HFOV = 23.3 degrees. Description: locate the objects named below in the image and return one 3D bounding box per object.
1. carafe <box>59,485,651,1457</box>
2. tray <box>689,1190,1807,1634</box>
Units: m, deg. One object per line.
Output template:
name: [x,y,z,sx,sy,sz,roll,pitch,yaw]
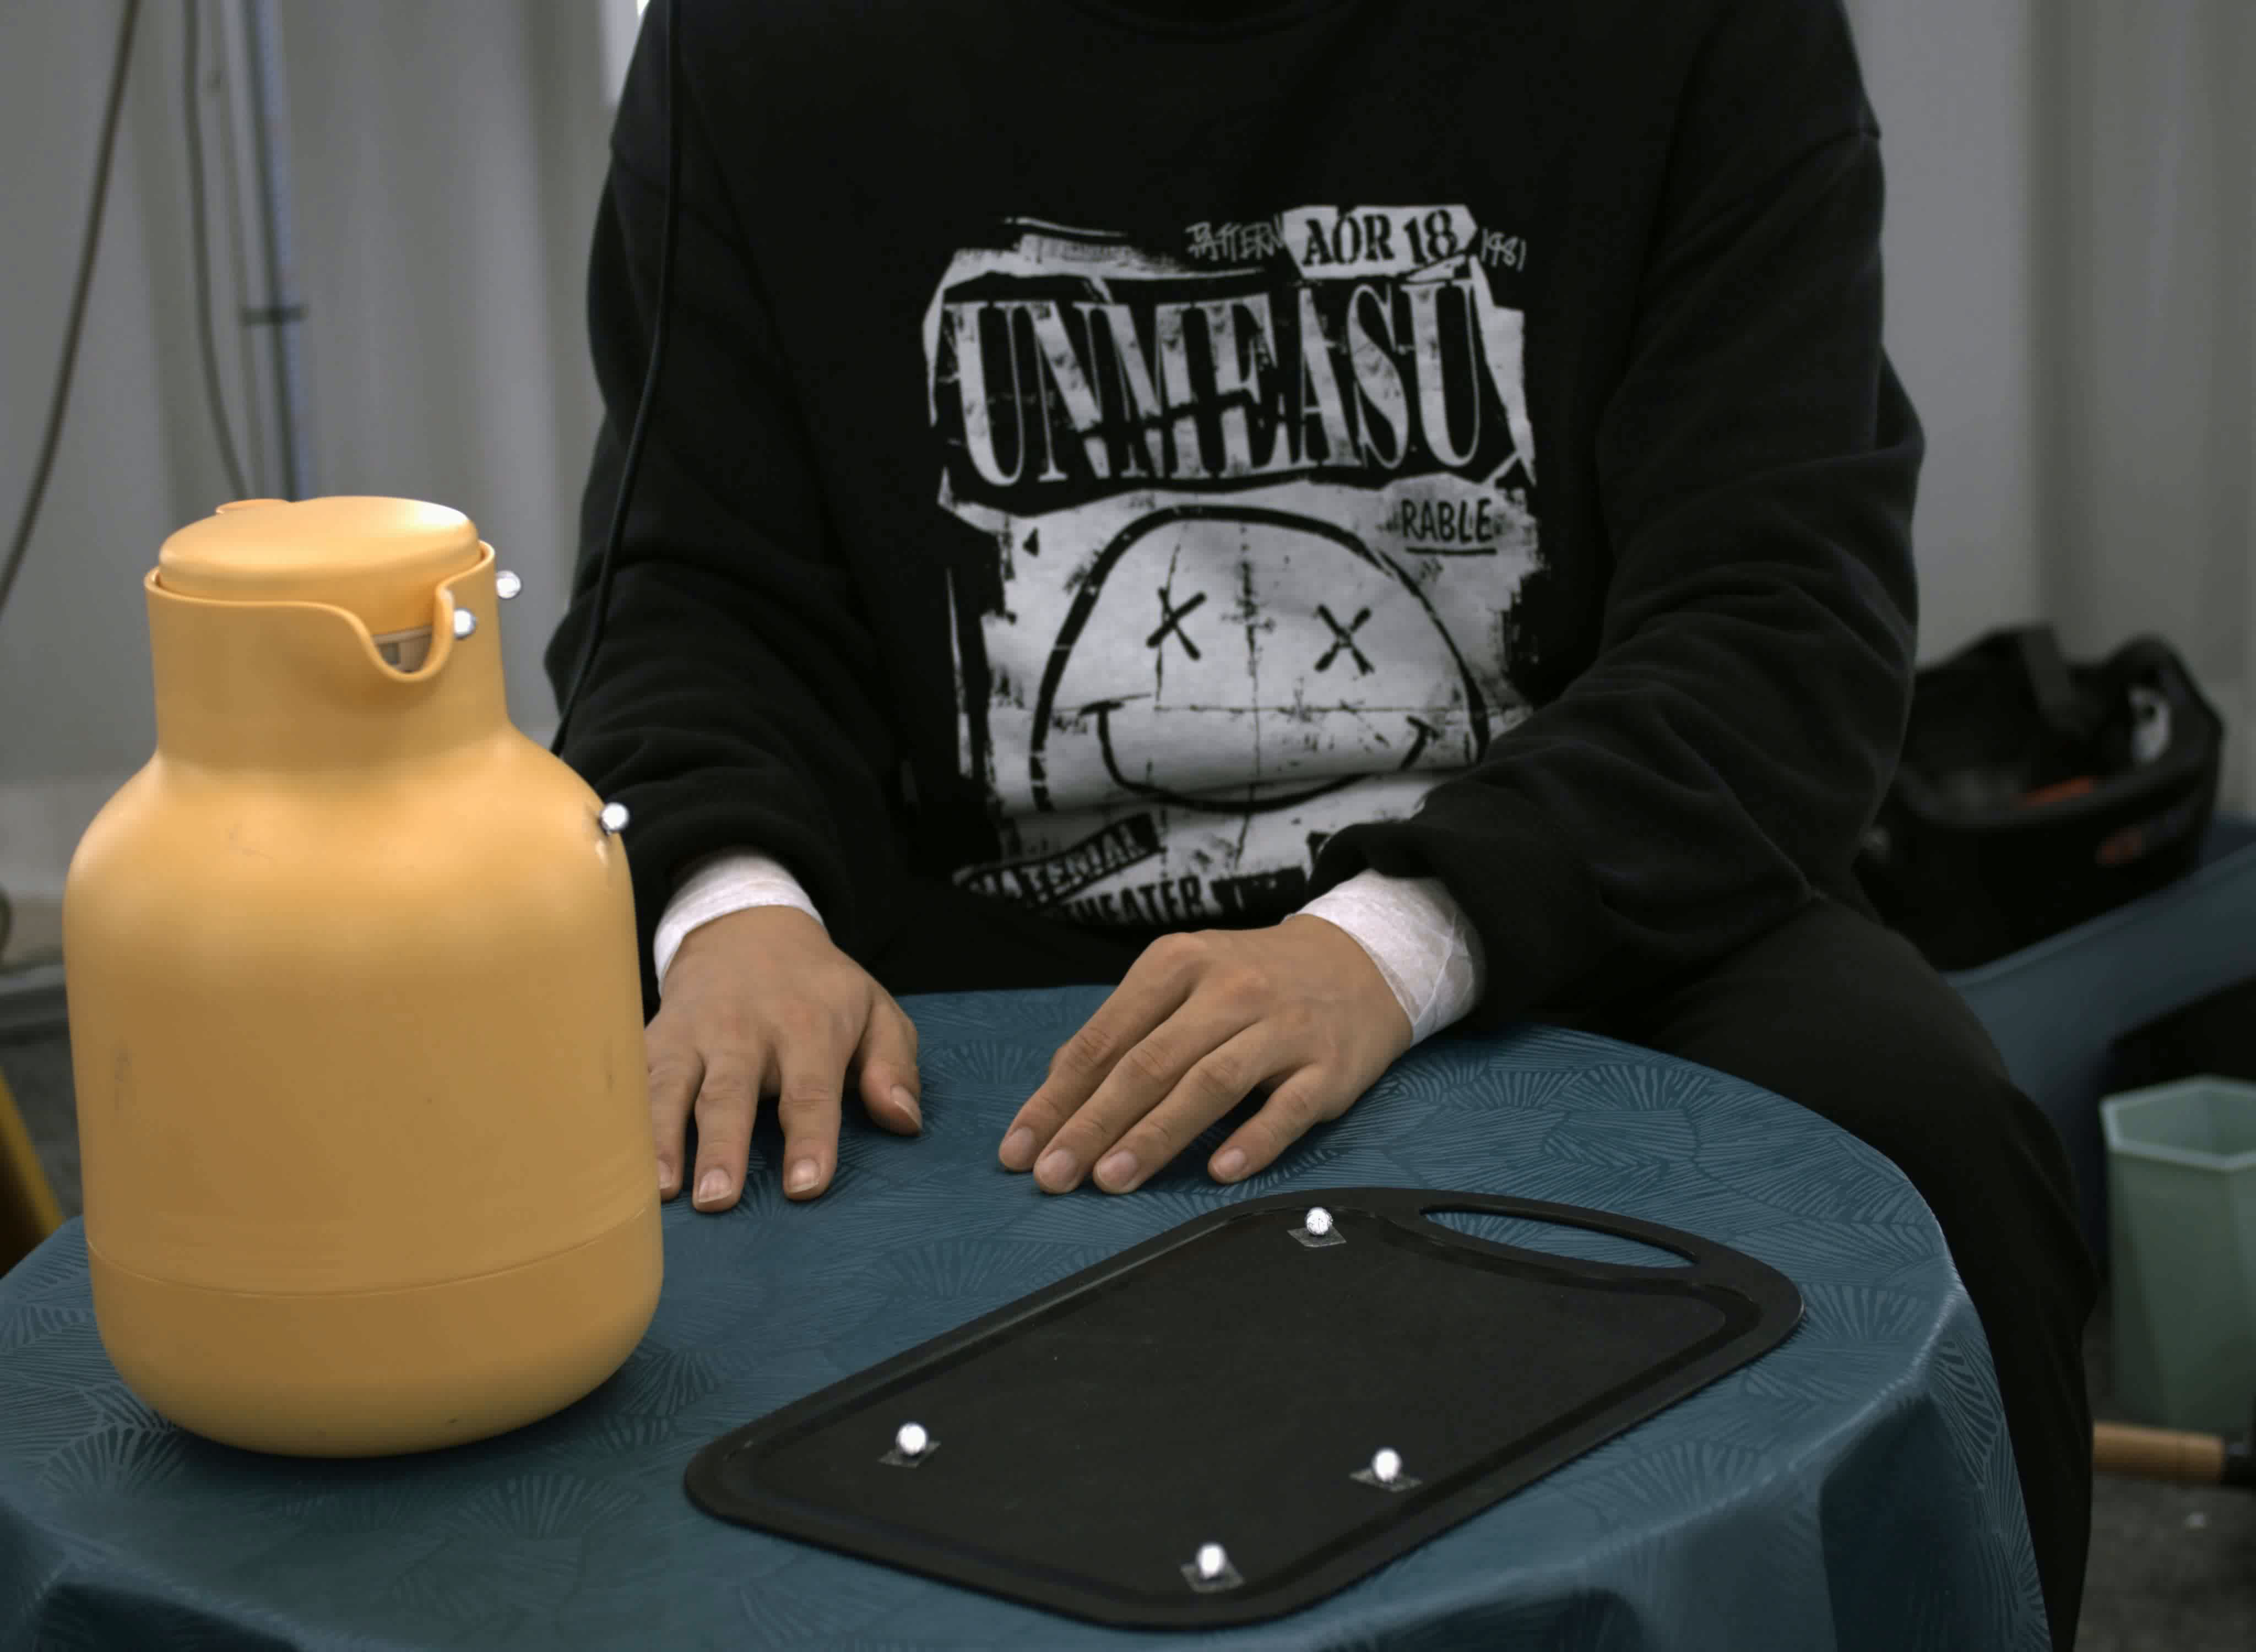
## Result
carafe: [-0.226,0.032,1.562,0.162,0.259,0.204,-6,15,-24]
tray: [0.043,0.155,1.541,0.212,0.010,0.325,10,19,39]
